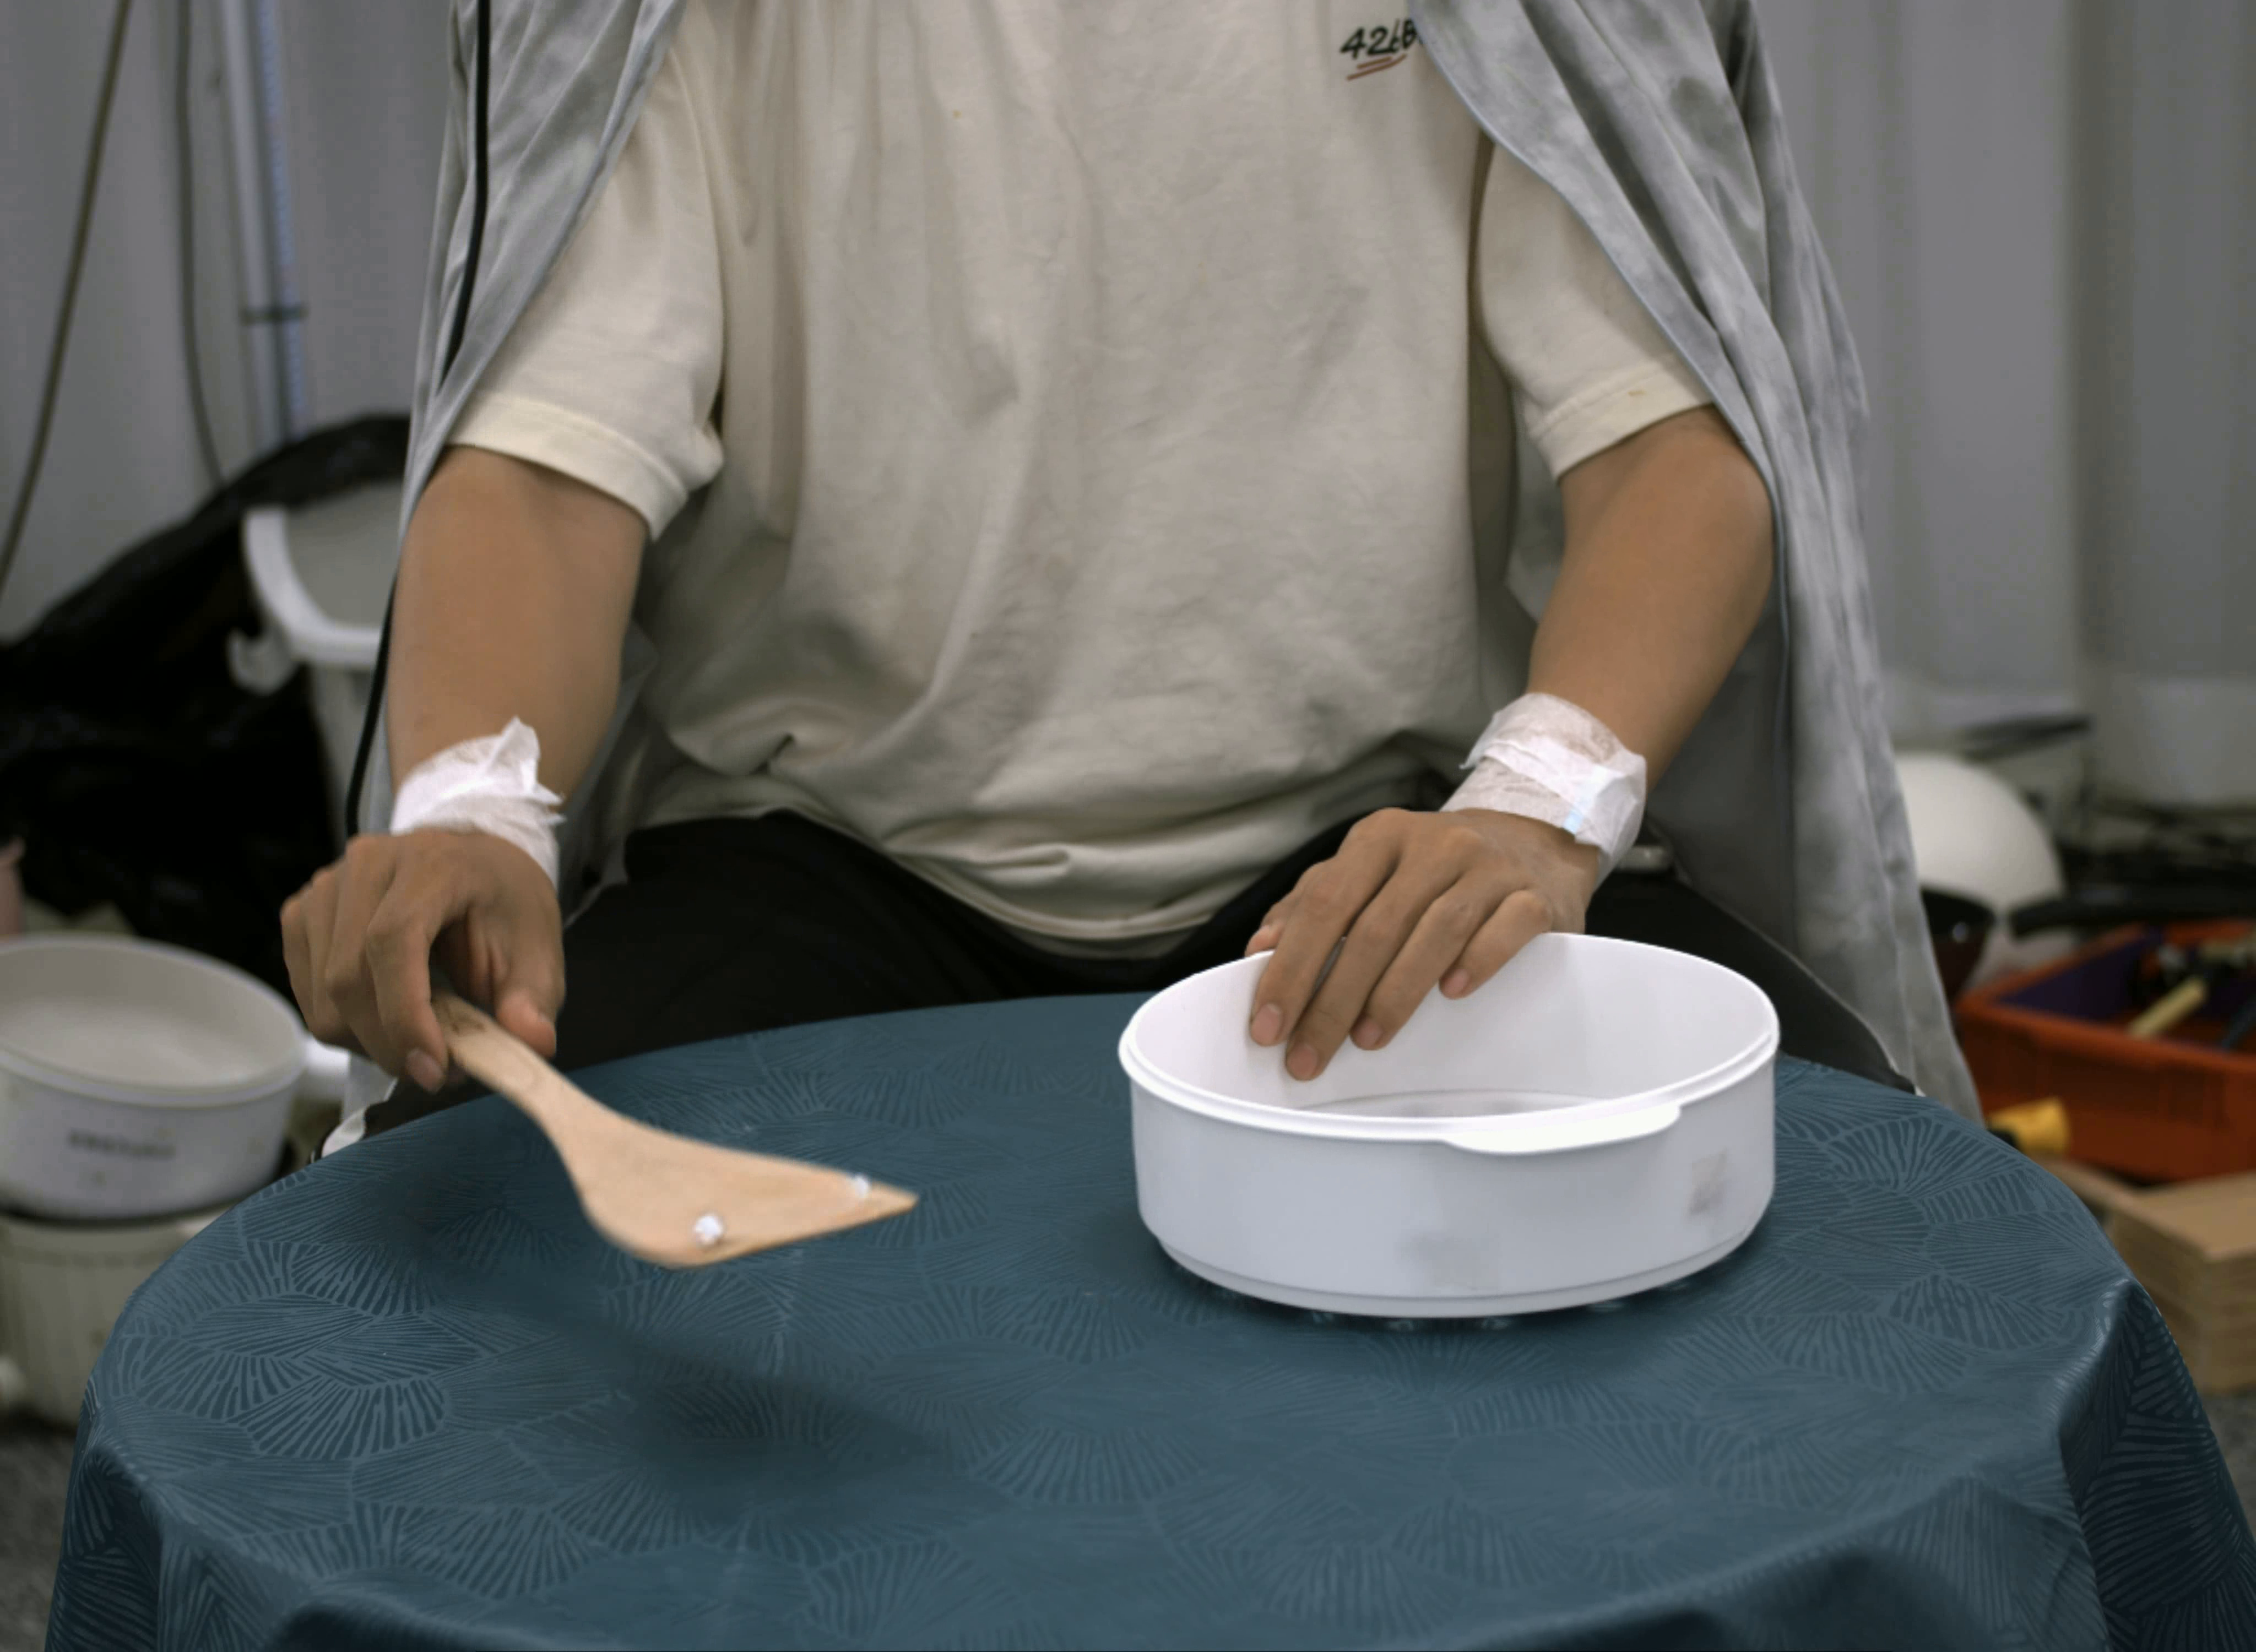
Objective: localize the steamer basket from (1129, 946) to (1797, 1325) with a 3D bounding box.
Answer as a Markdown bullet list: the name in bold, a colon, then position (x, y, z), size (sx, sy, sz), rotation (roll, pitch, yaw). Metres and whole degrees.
- **steamer basket**: position (0.101, 0.093, 1.655), size (0.201, 0.069, 0.232), rotation (-5, 14, -16)

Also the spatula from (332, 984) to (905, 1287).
- **spatula**: position (-0.166, 0.087, 1.613), size (0.079, 0.016, 0.330), rotation (-9, 17, -28)
